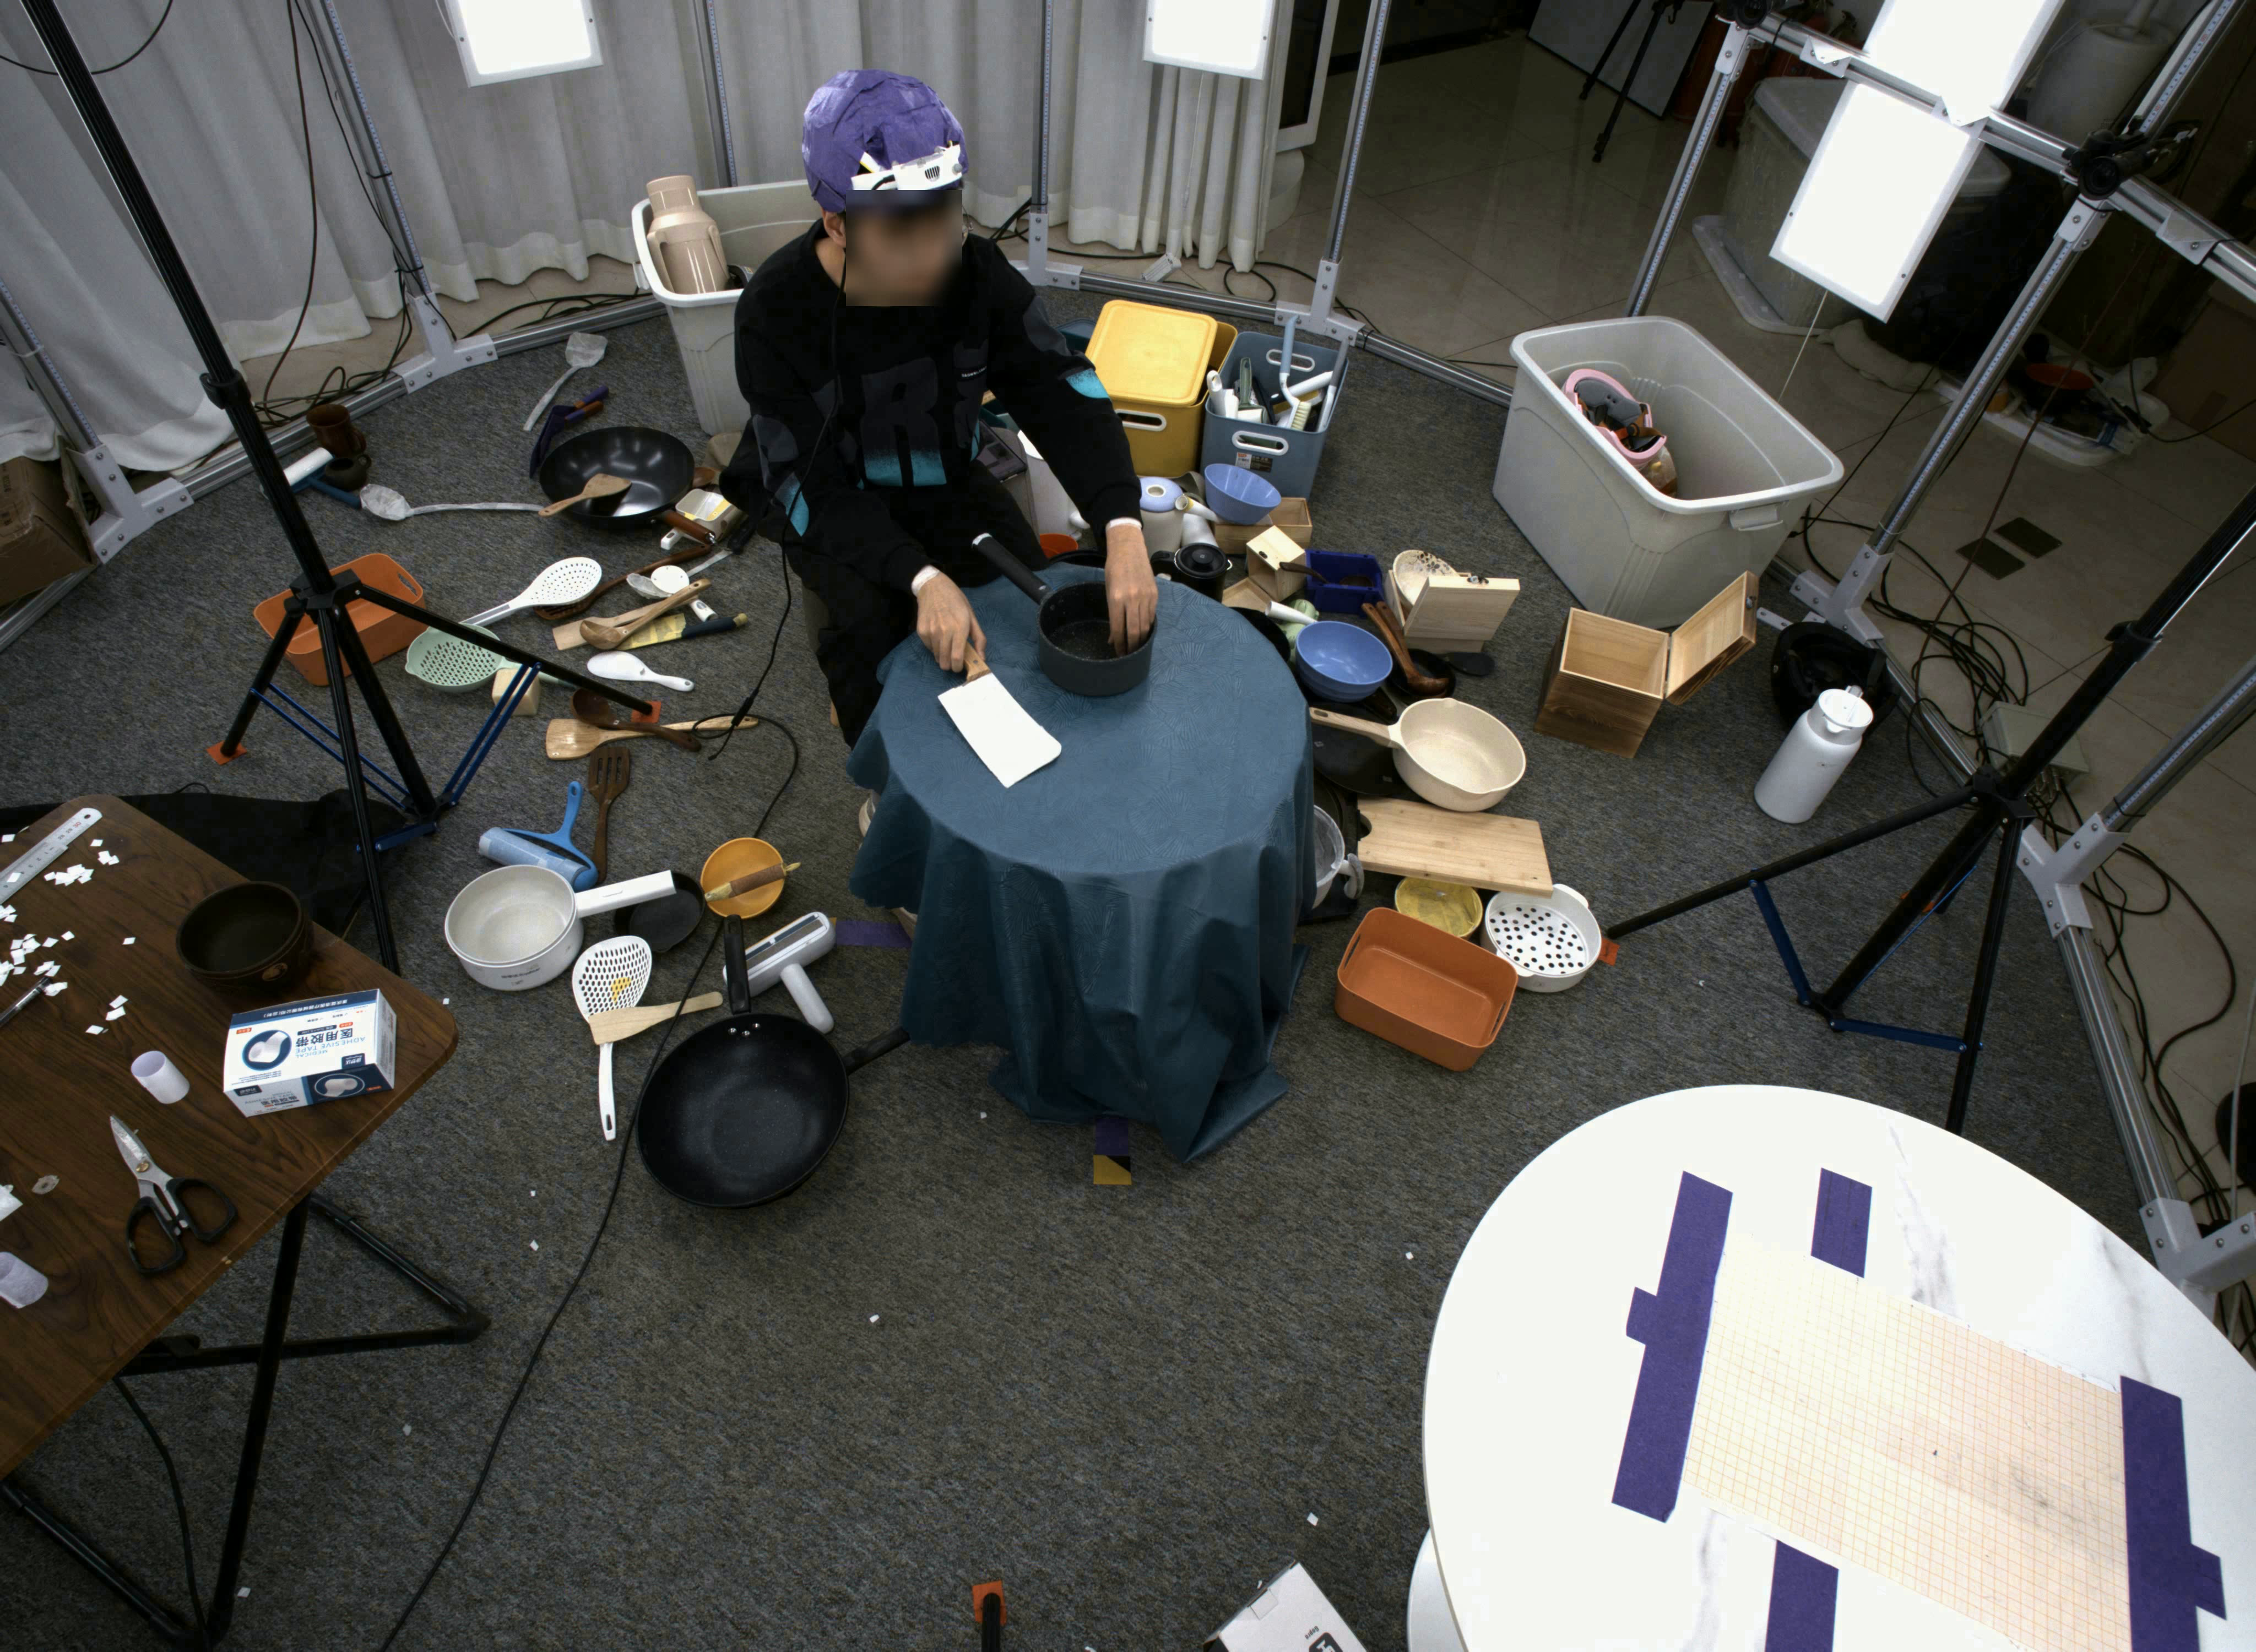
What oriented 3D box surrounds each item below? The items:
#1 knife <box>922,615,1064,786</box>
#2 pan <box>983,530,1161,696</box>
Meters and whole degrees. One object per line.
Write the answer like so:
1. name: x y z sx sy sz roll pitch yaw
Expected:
1. knife: -0.200 -0.183 1.792 0.114 0.021 0.321 -25 59 -17
2. pan: -0.097 -0.315 1.882 0.173 0.084 0.334 -34 60 -31
